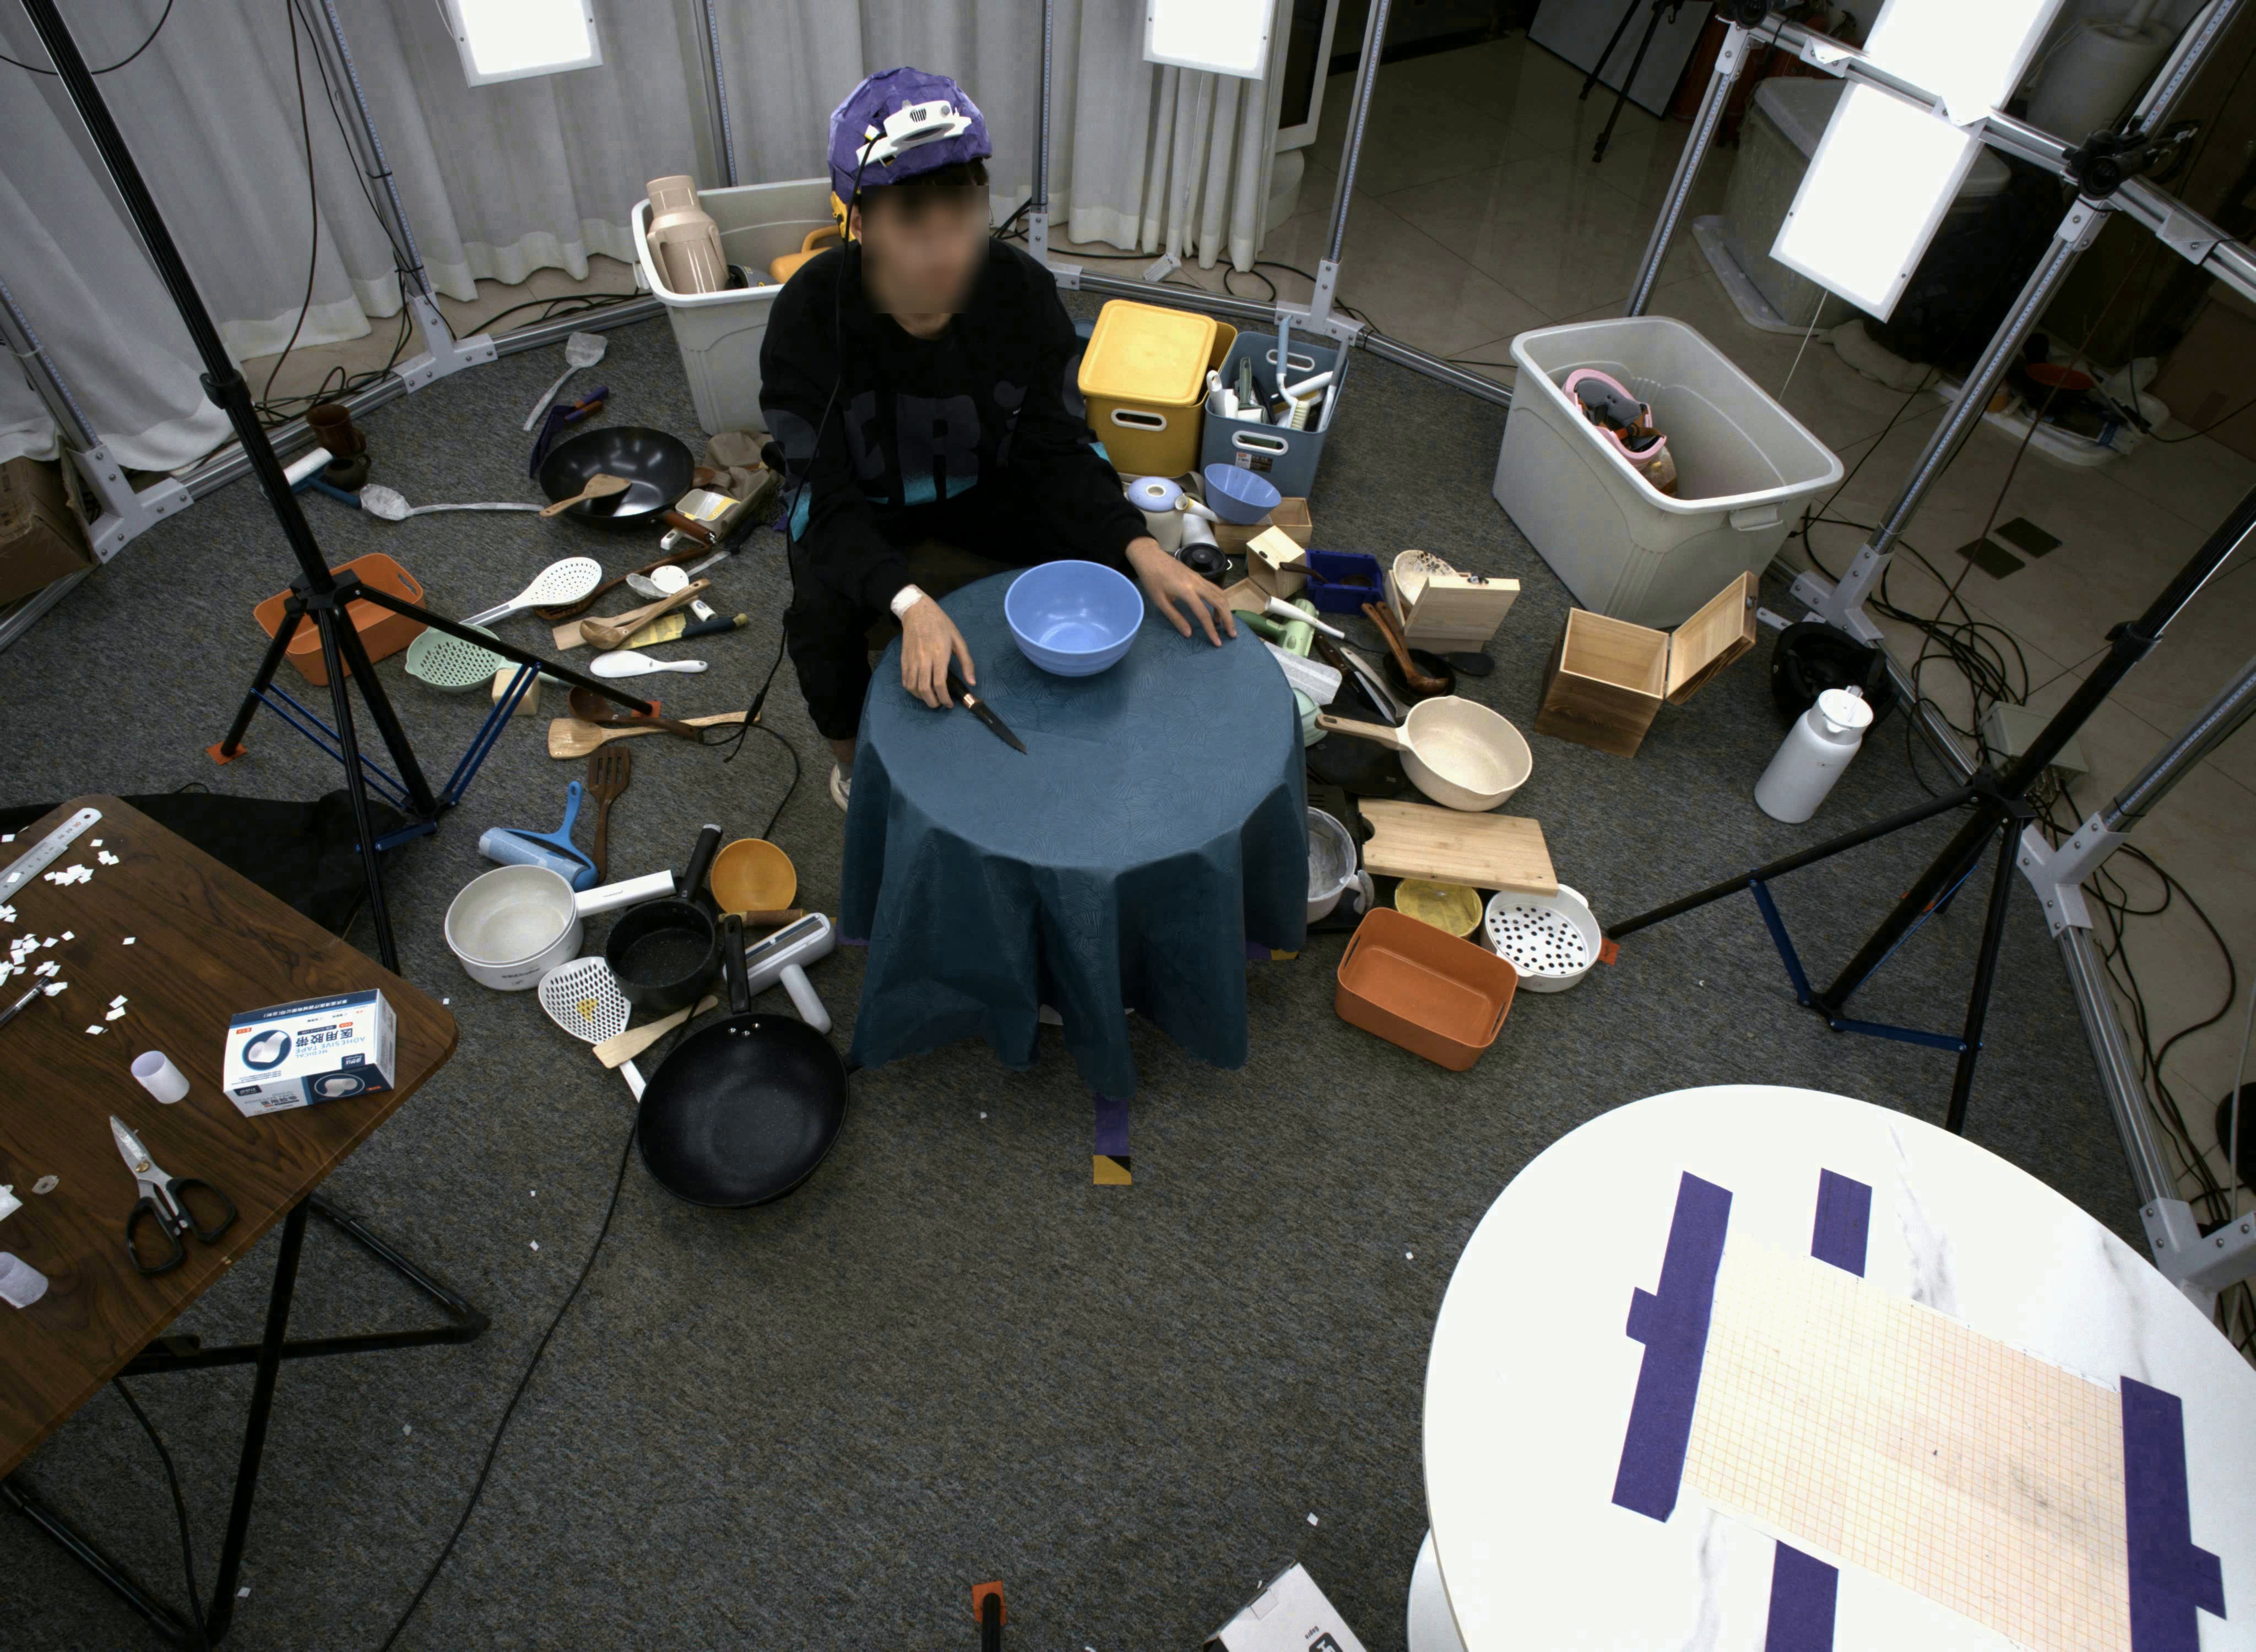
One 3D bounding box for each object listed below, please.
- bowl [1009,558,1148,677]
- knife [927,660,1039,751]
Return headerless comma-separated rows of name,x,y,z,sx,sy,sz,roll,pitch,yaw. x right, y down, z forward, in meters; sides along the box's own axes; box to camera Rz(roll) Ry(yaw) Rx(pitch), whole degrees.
bowl,-0.073,-0.284,1.845,0.196,0.093,0.201,3,51,-4
knife,-0.204,-0.168,1.793,0.026,0.017,0.229,-33,59,-30
